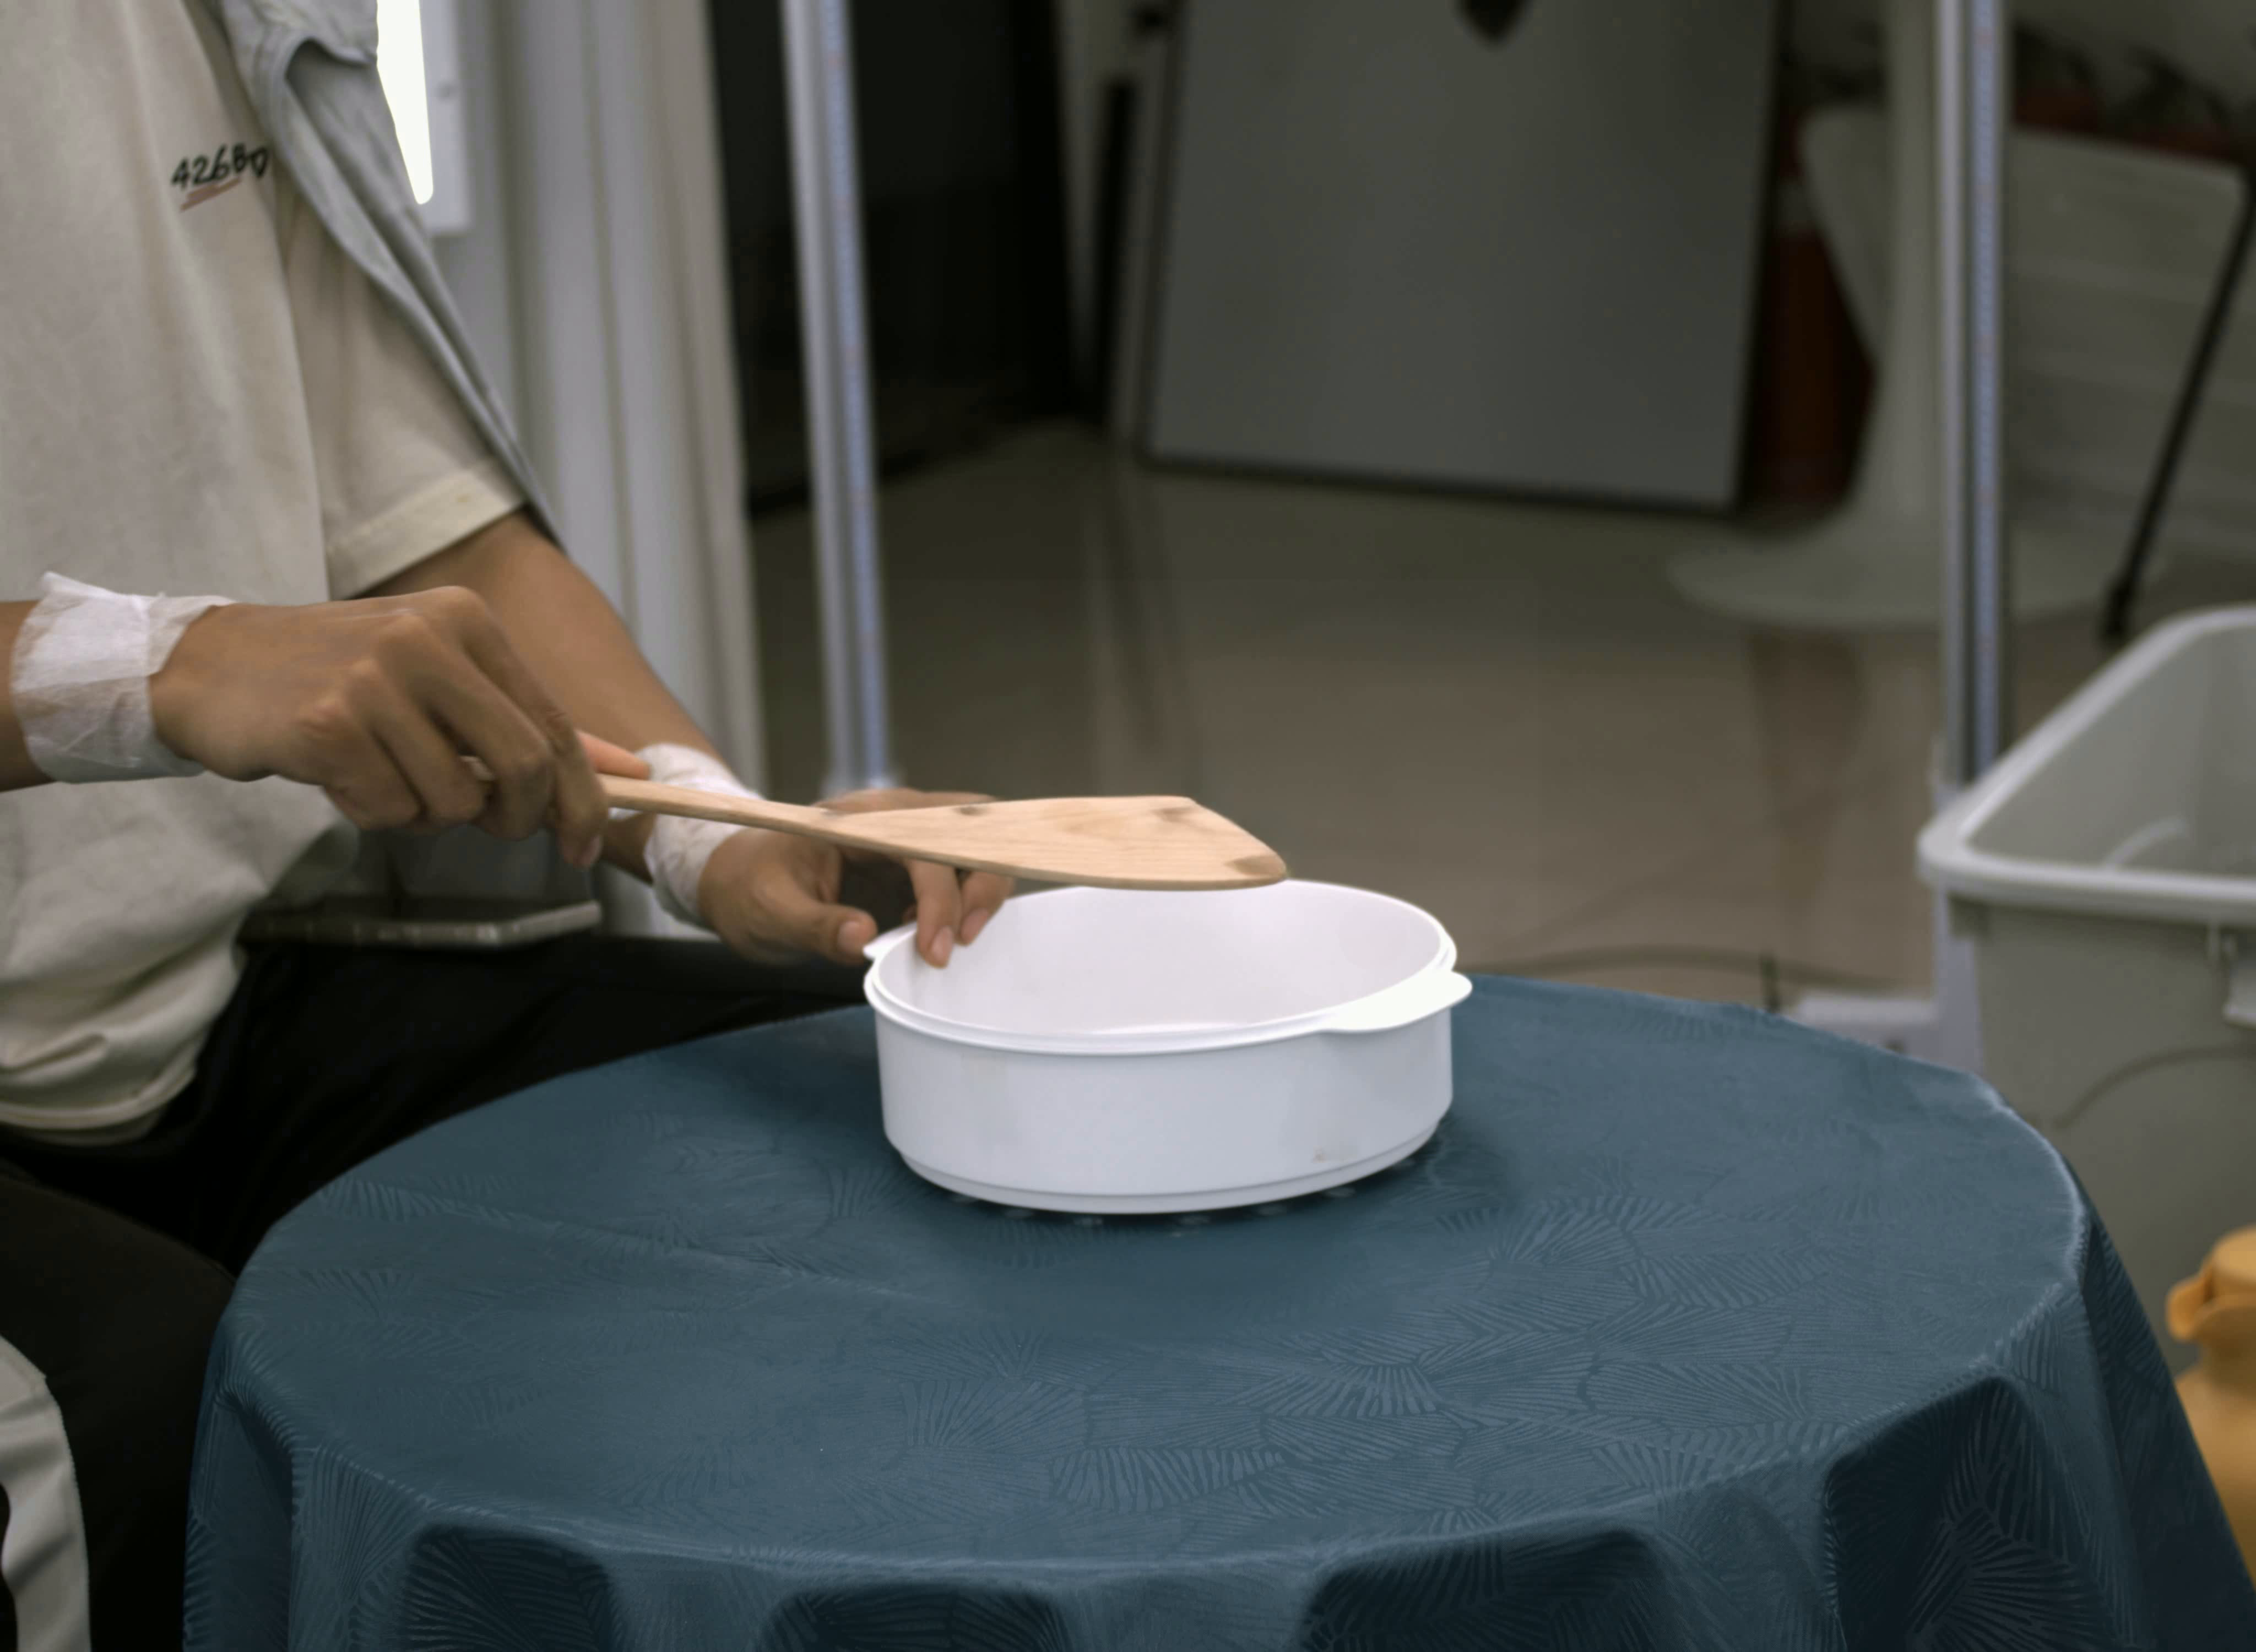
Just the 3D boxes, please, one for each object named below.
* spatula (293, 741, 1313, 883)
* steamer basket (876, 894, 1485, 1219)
[{"bbox_3d":[-0.102,-0.008,1.696,0.320,0.017,0.080,6,17,-20],"label":"spatula"},{"bbox_3d":[0.017,0.077,1.812,0.232,0.070,0.198,6,16,39],"label":"steamer basket"}]
